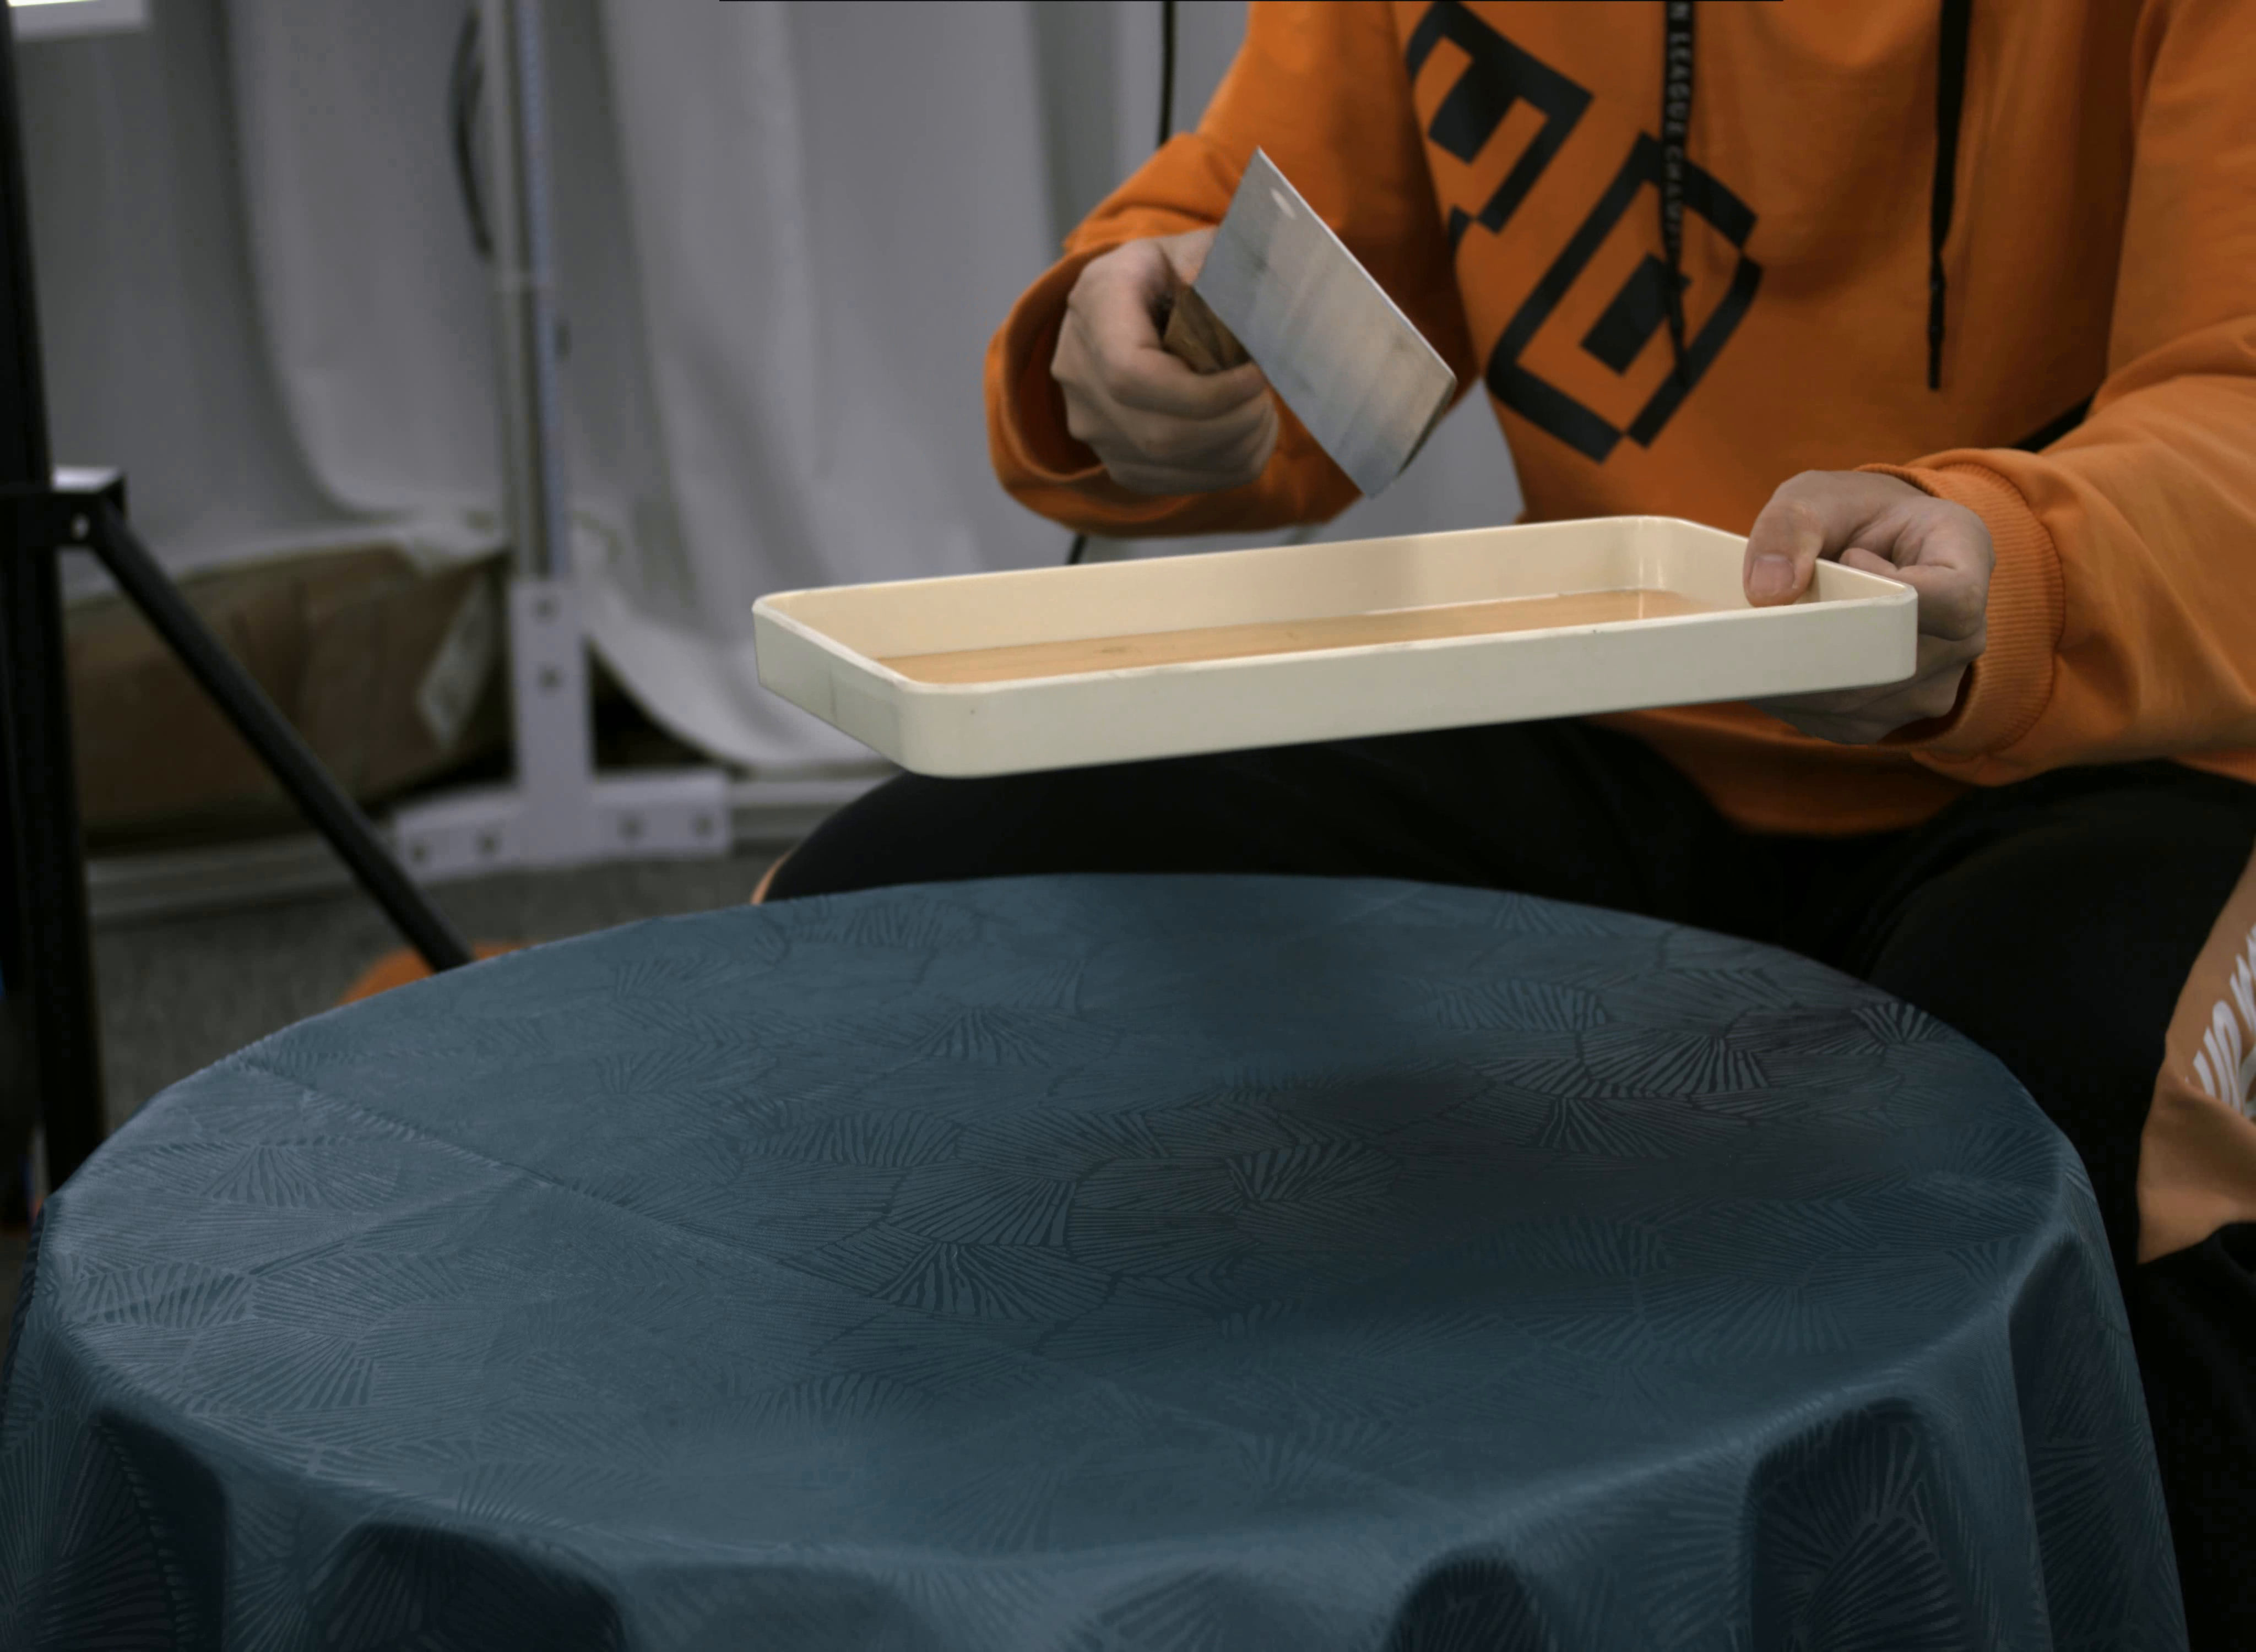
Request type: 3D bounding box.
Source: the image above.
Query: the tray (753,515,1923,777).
[{"bbox_3d":[0.057,-0.054,1.525,0.295,0.027,0.194,-6,11,-16],"label":"tray"}]

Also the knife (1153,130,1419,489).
[{"bbox_3d":[0.050,-0.147,1.677,0.021,0.093,0.306,-41,-3,-9],"label":"knife"}]
